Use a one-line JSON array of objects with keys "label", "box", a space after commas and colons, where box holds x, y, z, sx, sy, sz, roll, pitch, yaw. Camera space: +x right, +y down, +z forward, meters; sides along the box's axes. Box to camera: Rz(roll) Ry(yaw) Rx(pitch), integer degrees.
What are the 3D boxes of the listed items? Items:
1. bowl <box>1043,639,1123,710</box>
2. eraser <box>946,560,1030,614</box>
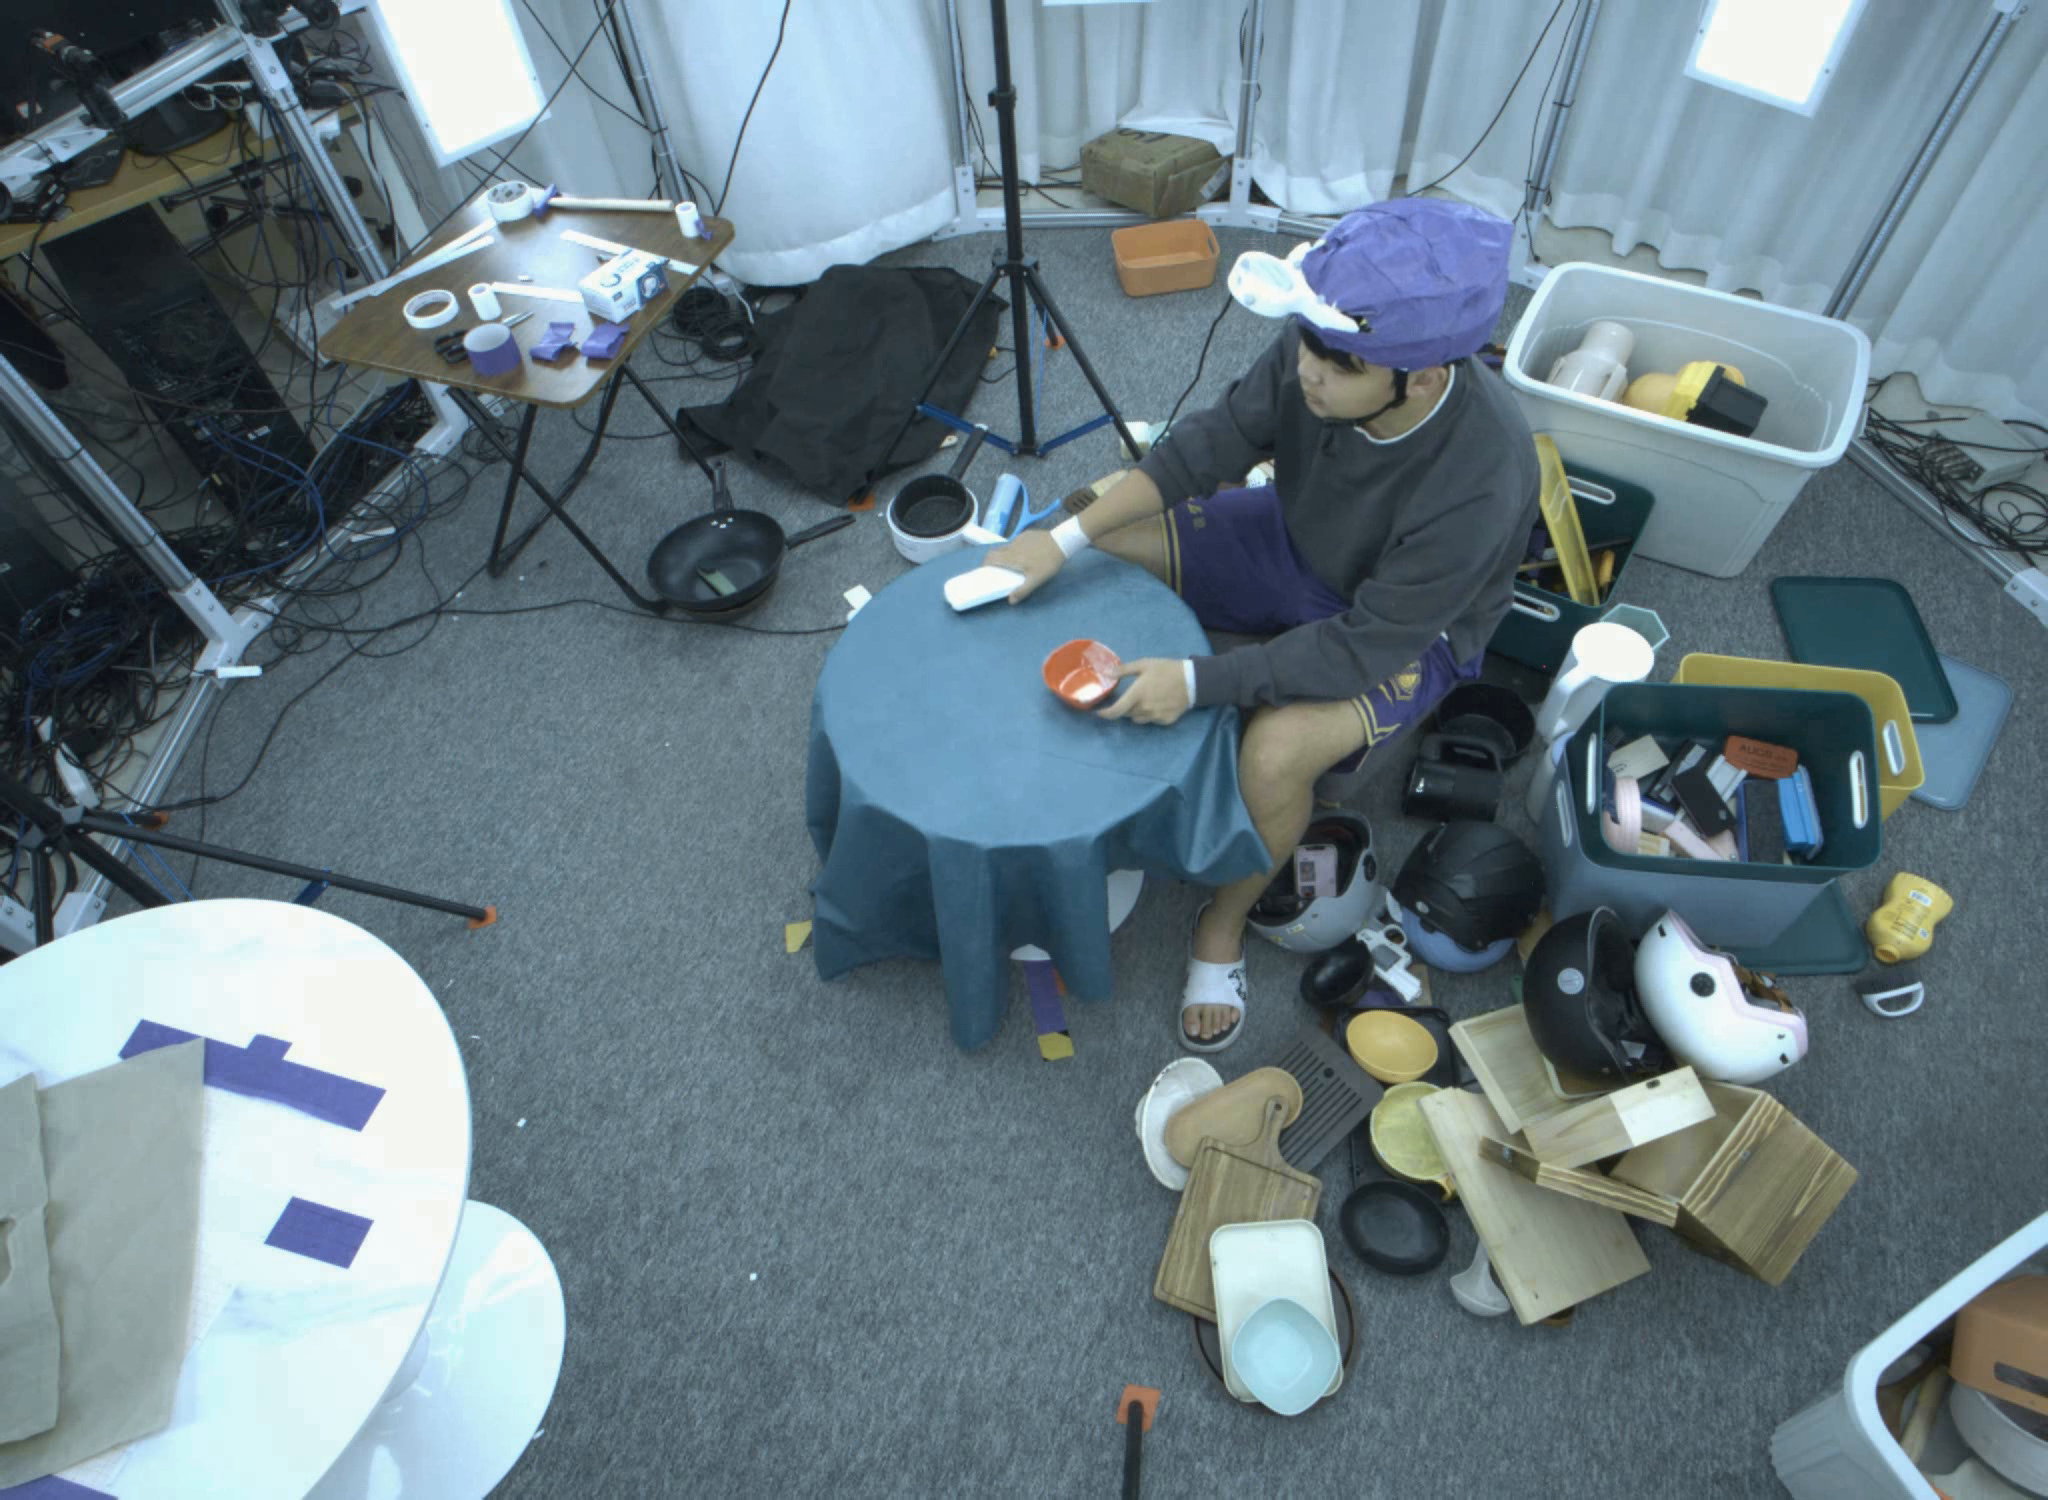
[{"label": "bowl", "box": [0.088, -0.104, 1.830, 0.119, 0.052, 0.117, -1, 54, 2]}, {"label": "eraser", "box": [-0.058, -0.260, 1.952, 0.132, 0.035, 0.062, -18, 53, -5]}]
